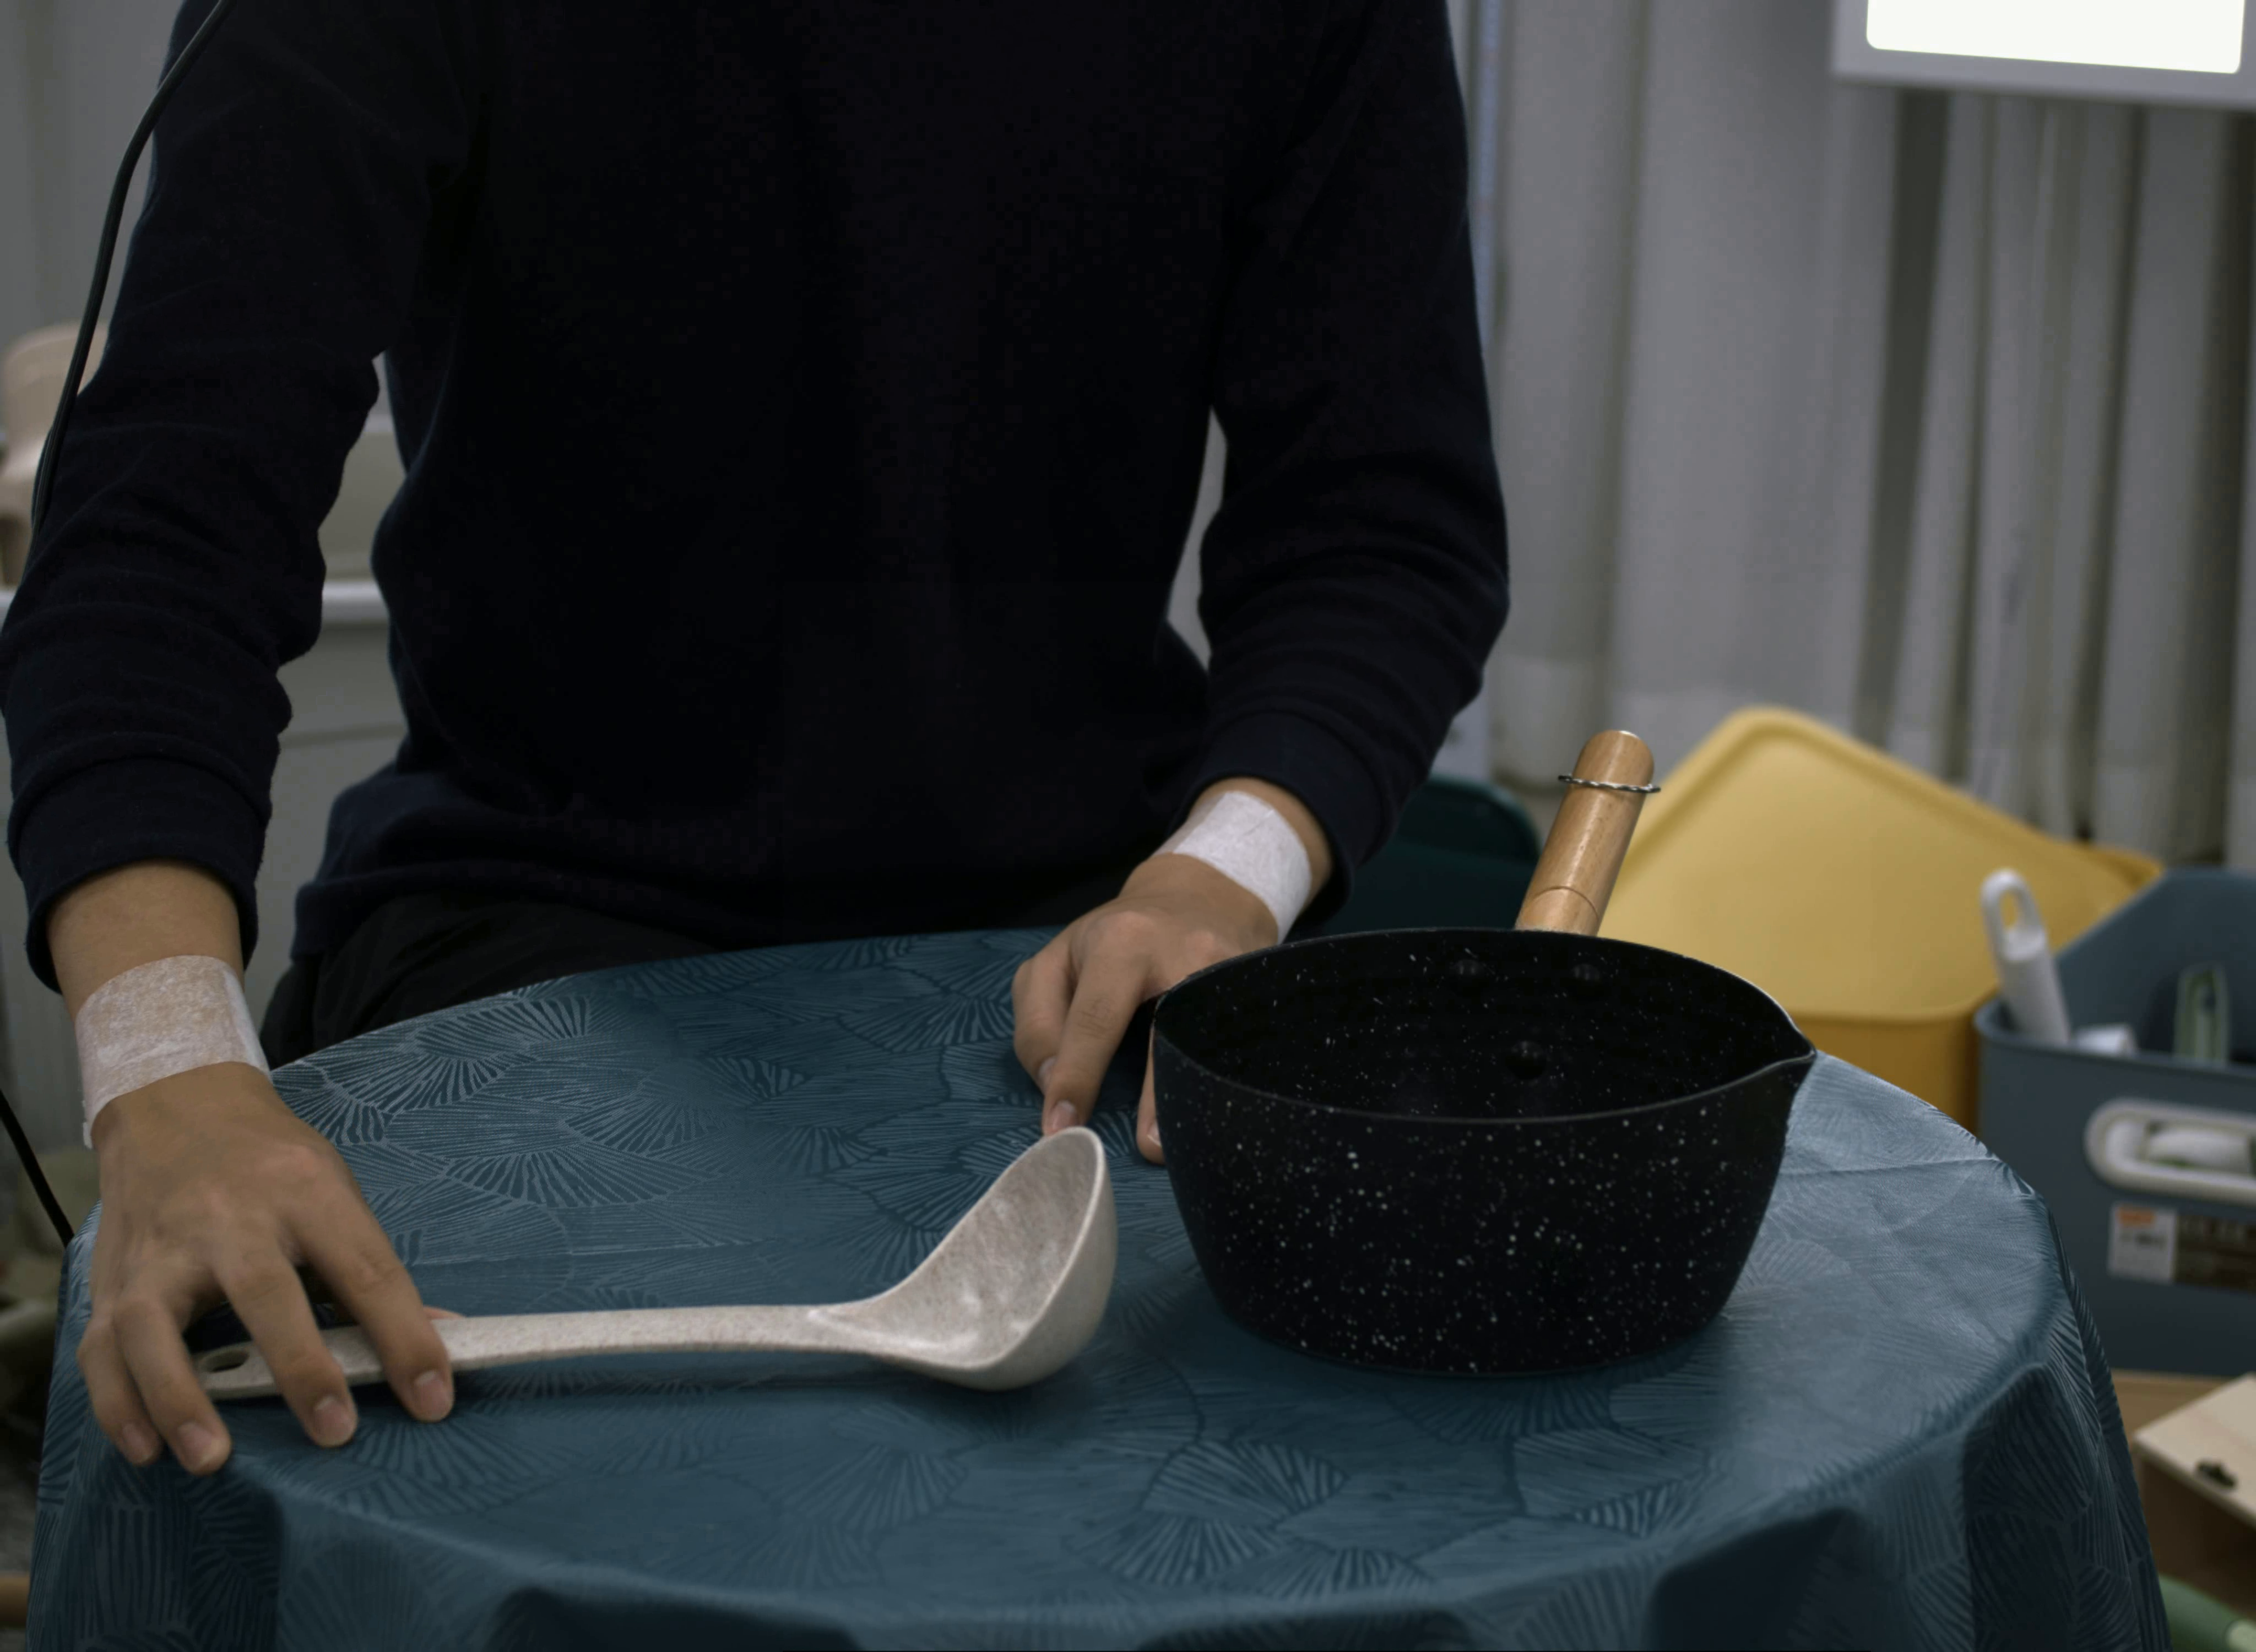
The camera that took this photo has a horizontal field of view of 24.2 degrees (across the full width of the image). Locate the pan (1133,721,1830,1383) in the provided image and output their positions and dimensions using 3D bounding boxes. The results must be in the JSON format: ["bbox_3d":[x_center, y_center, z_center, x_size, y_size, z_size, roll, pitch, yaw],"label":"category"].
[{"bbox_3d":[0.118,0.063,1.600,0.206,0.109,0.342,3,17,13],"label":"pan"}]

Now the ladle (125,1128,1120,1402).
[{"bbox_3d":[-0.139,0.123,1.450,0.274,0.070,0.088,-1,31,-7],"label":"ladle"}]
